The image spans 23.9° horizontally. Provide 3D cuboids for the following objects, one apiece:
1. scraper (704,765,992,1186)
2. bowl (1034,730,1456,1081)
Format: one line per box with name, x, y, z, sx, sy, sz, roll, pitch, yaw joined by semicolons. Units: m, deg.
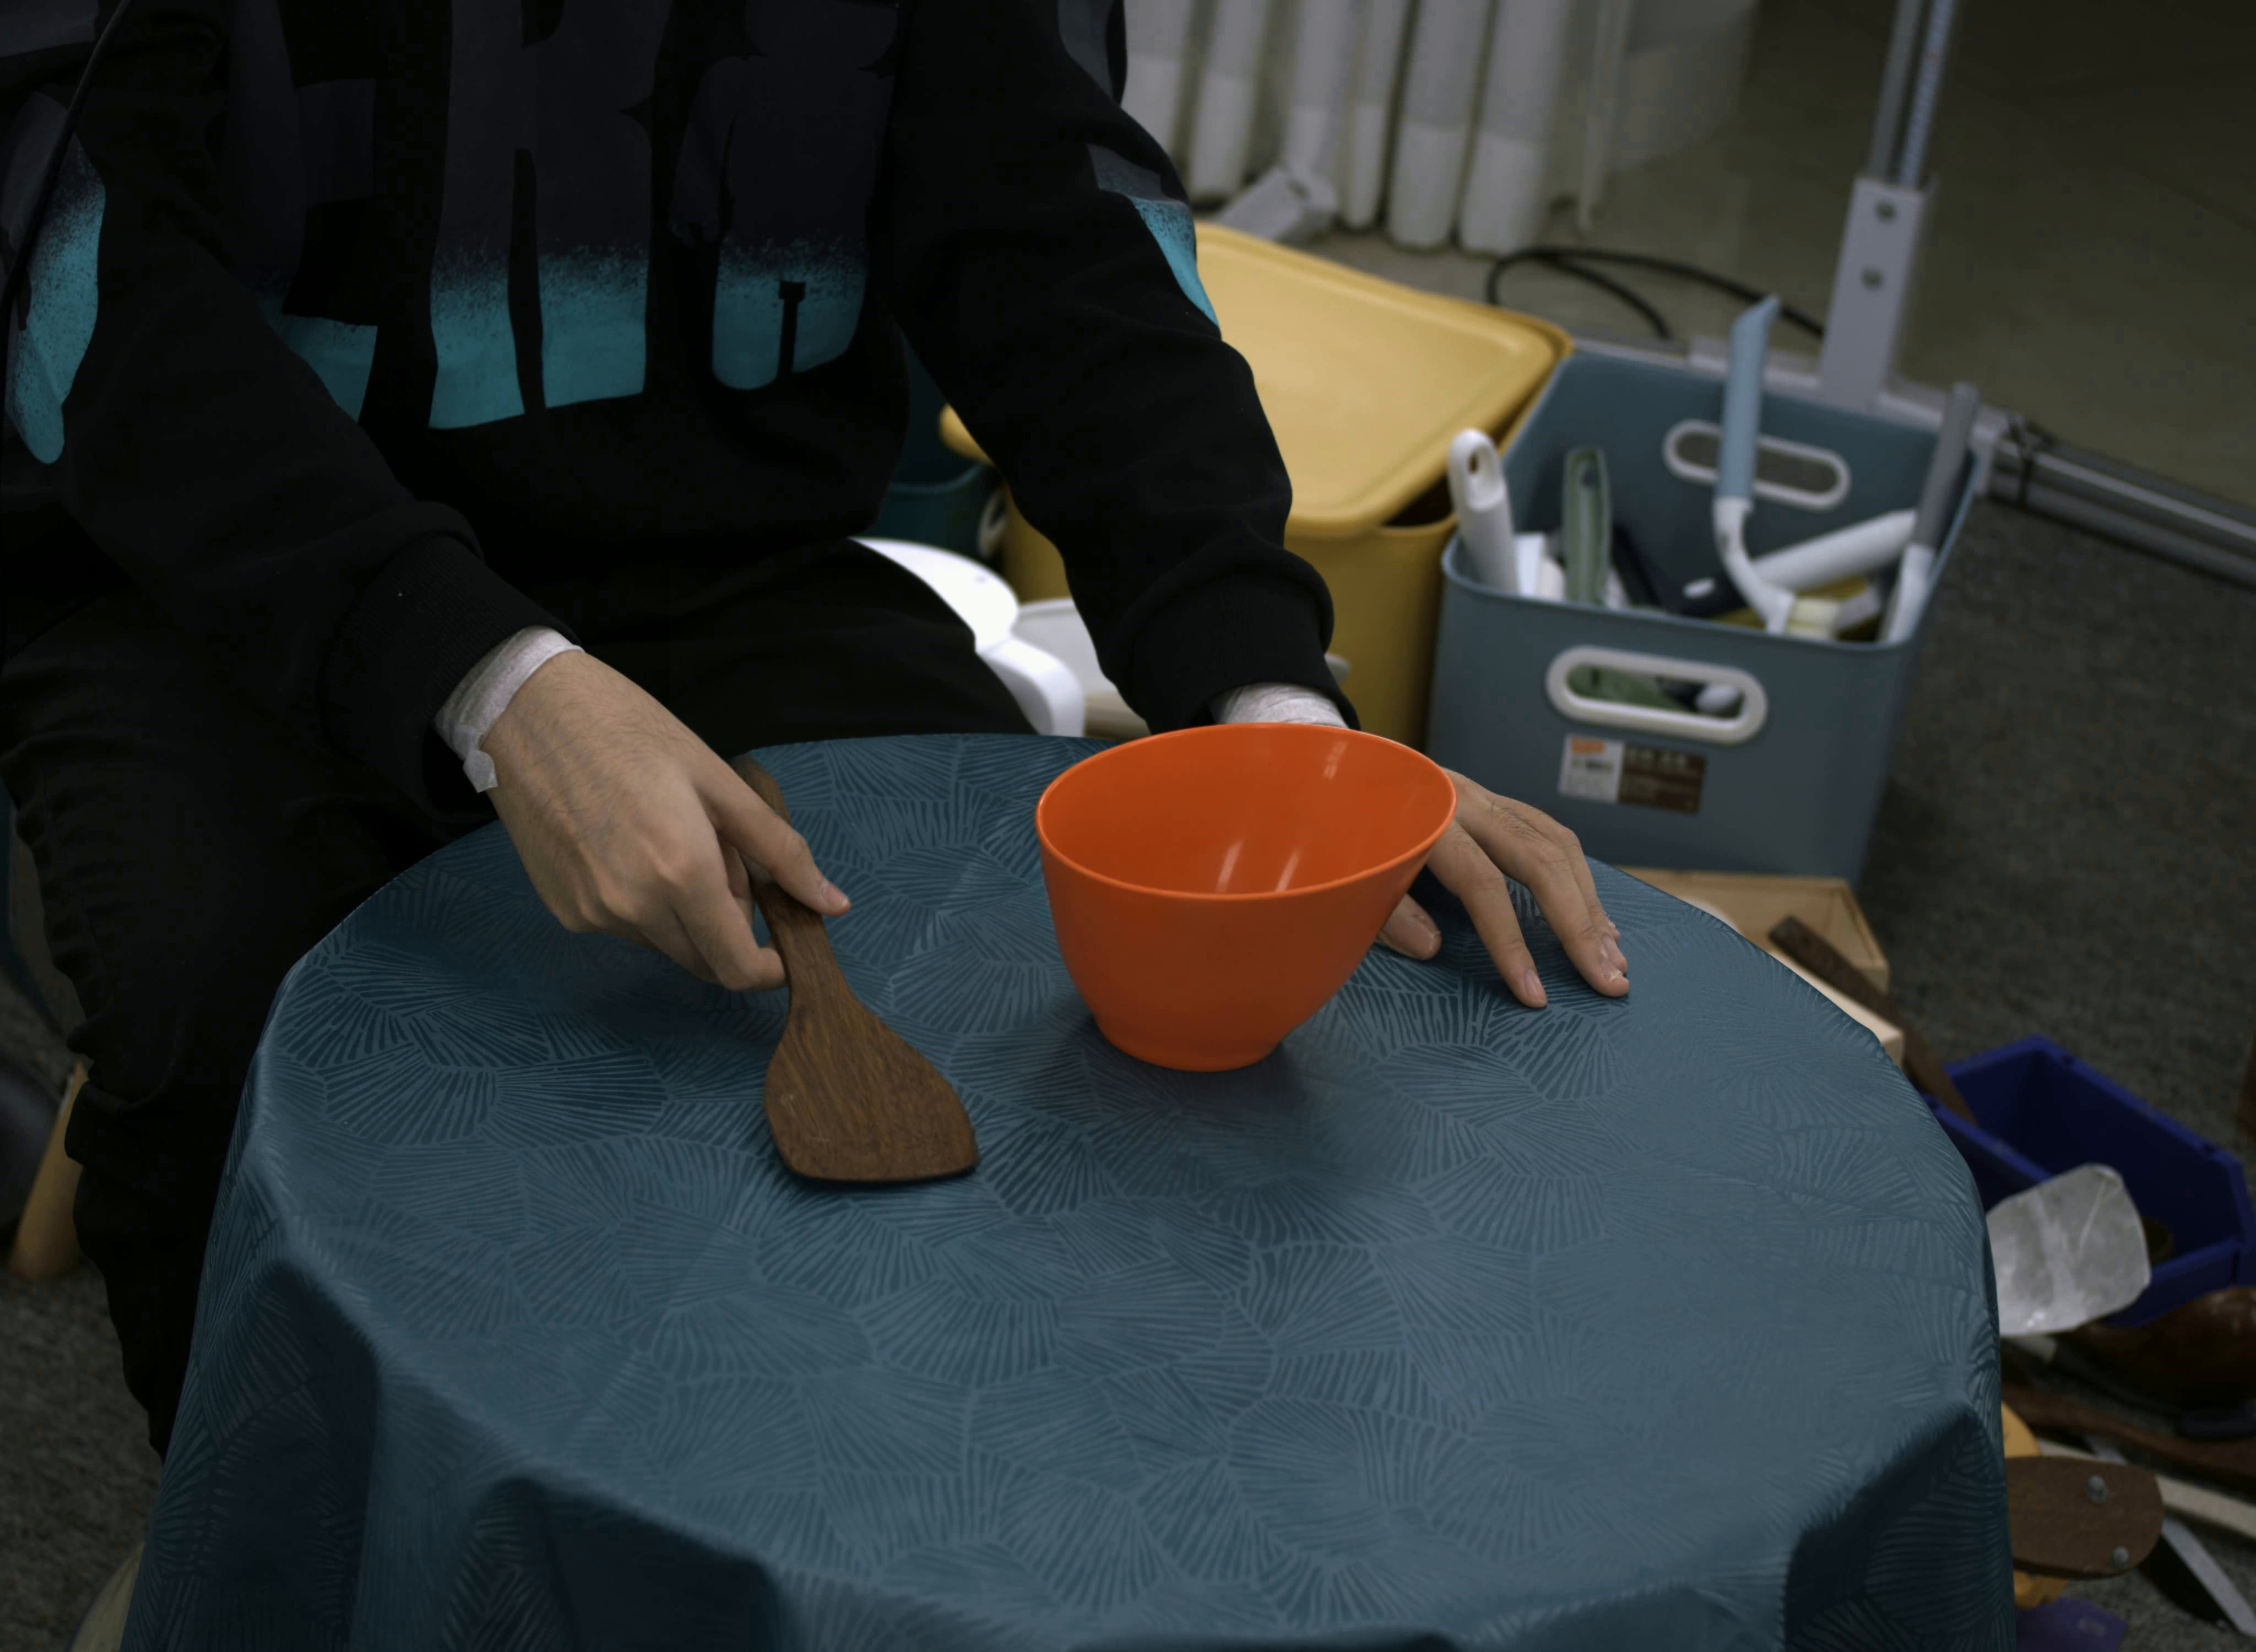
scraper;-0.110;0.051;1.857;0.075;0.011;0.213;-1;43;-24
bowl;0.037;0.032;1.881;0.147;0.104;0.149;4;26;-2
